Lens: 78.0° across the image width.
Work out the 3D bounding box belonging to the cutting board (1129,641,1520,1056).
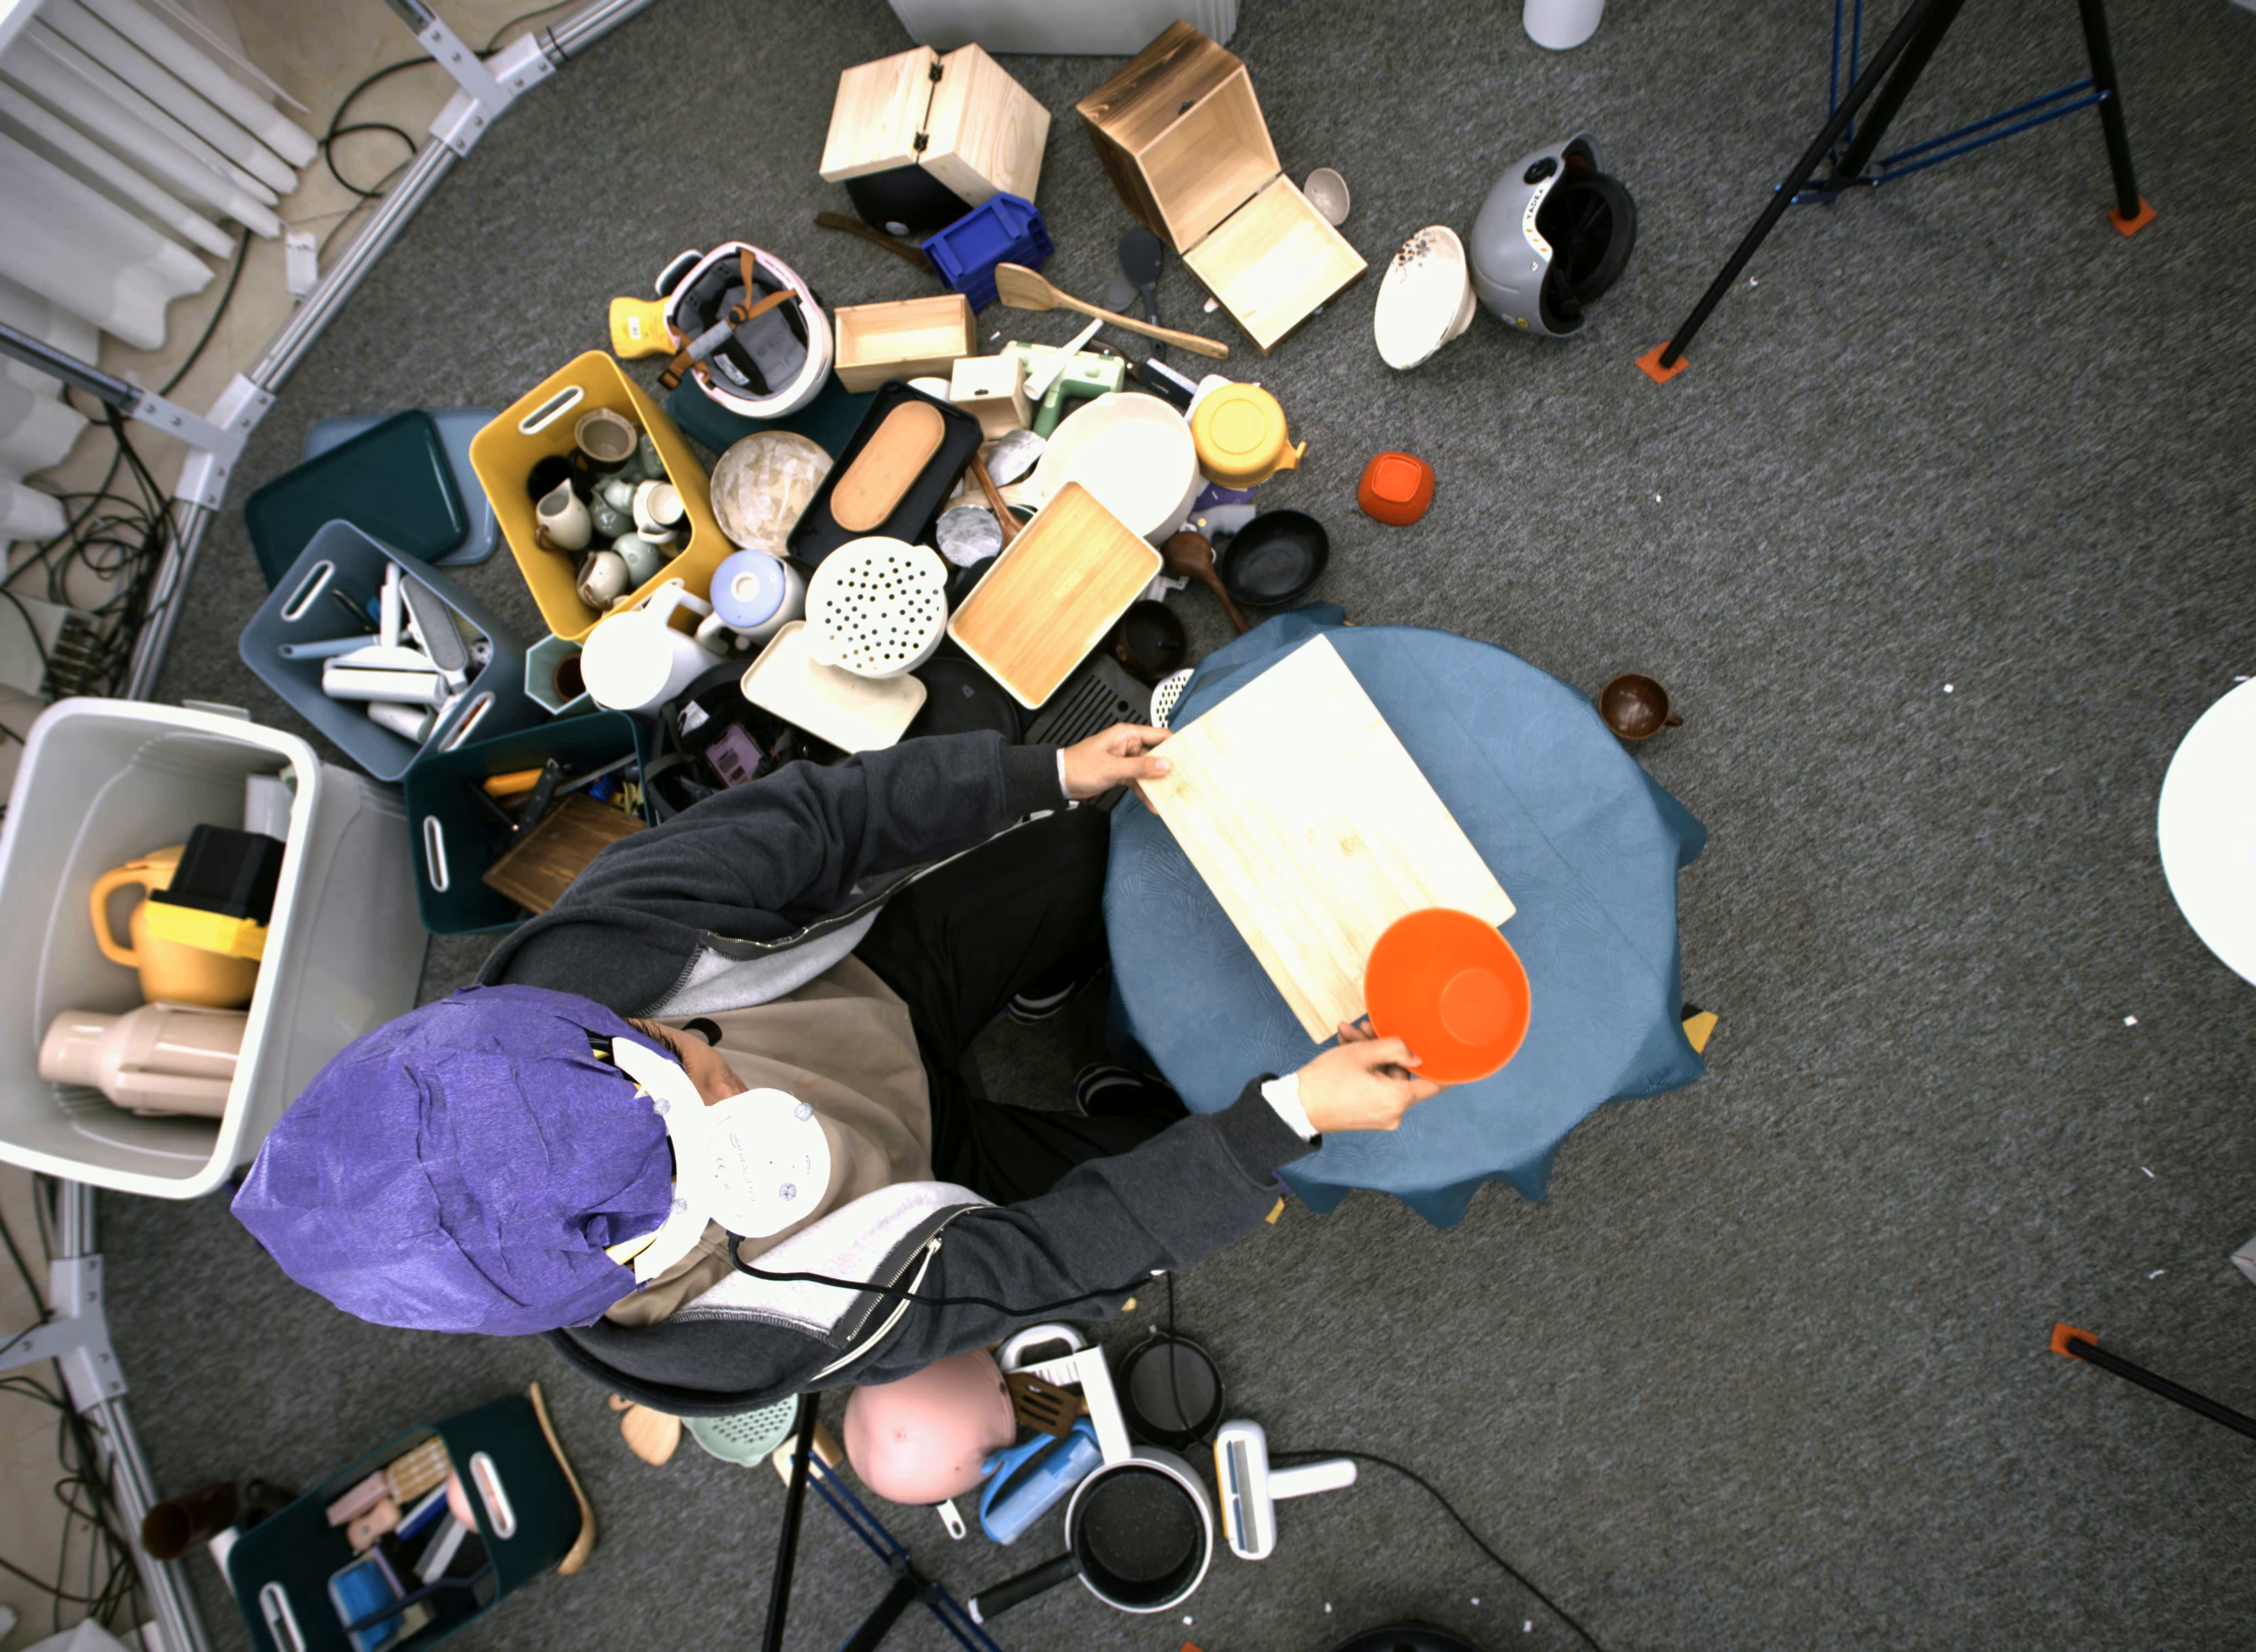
[{"bbox_3d":[0.196,0.018,1.390,0.252,0.023,0.348,-35,87,8],"label":"cutting board"}]

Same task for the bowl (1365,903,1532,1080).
[{"bbox_3d":[0.288,0.142,1.188,0.149,0.104,0.147,-4,84,34],"label":"bowl"}]
